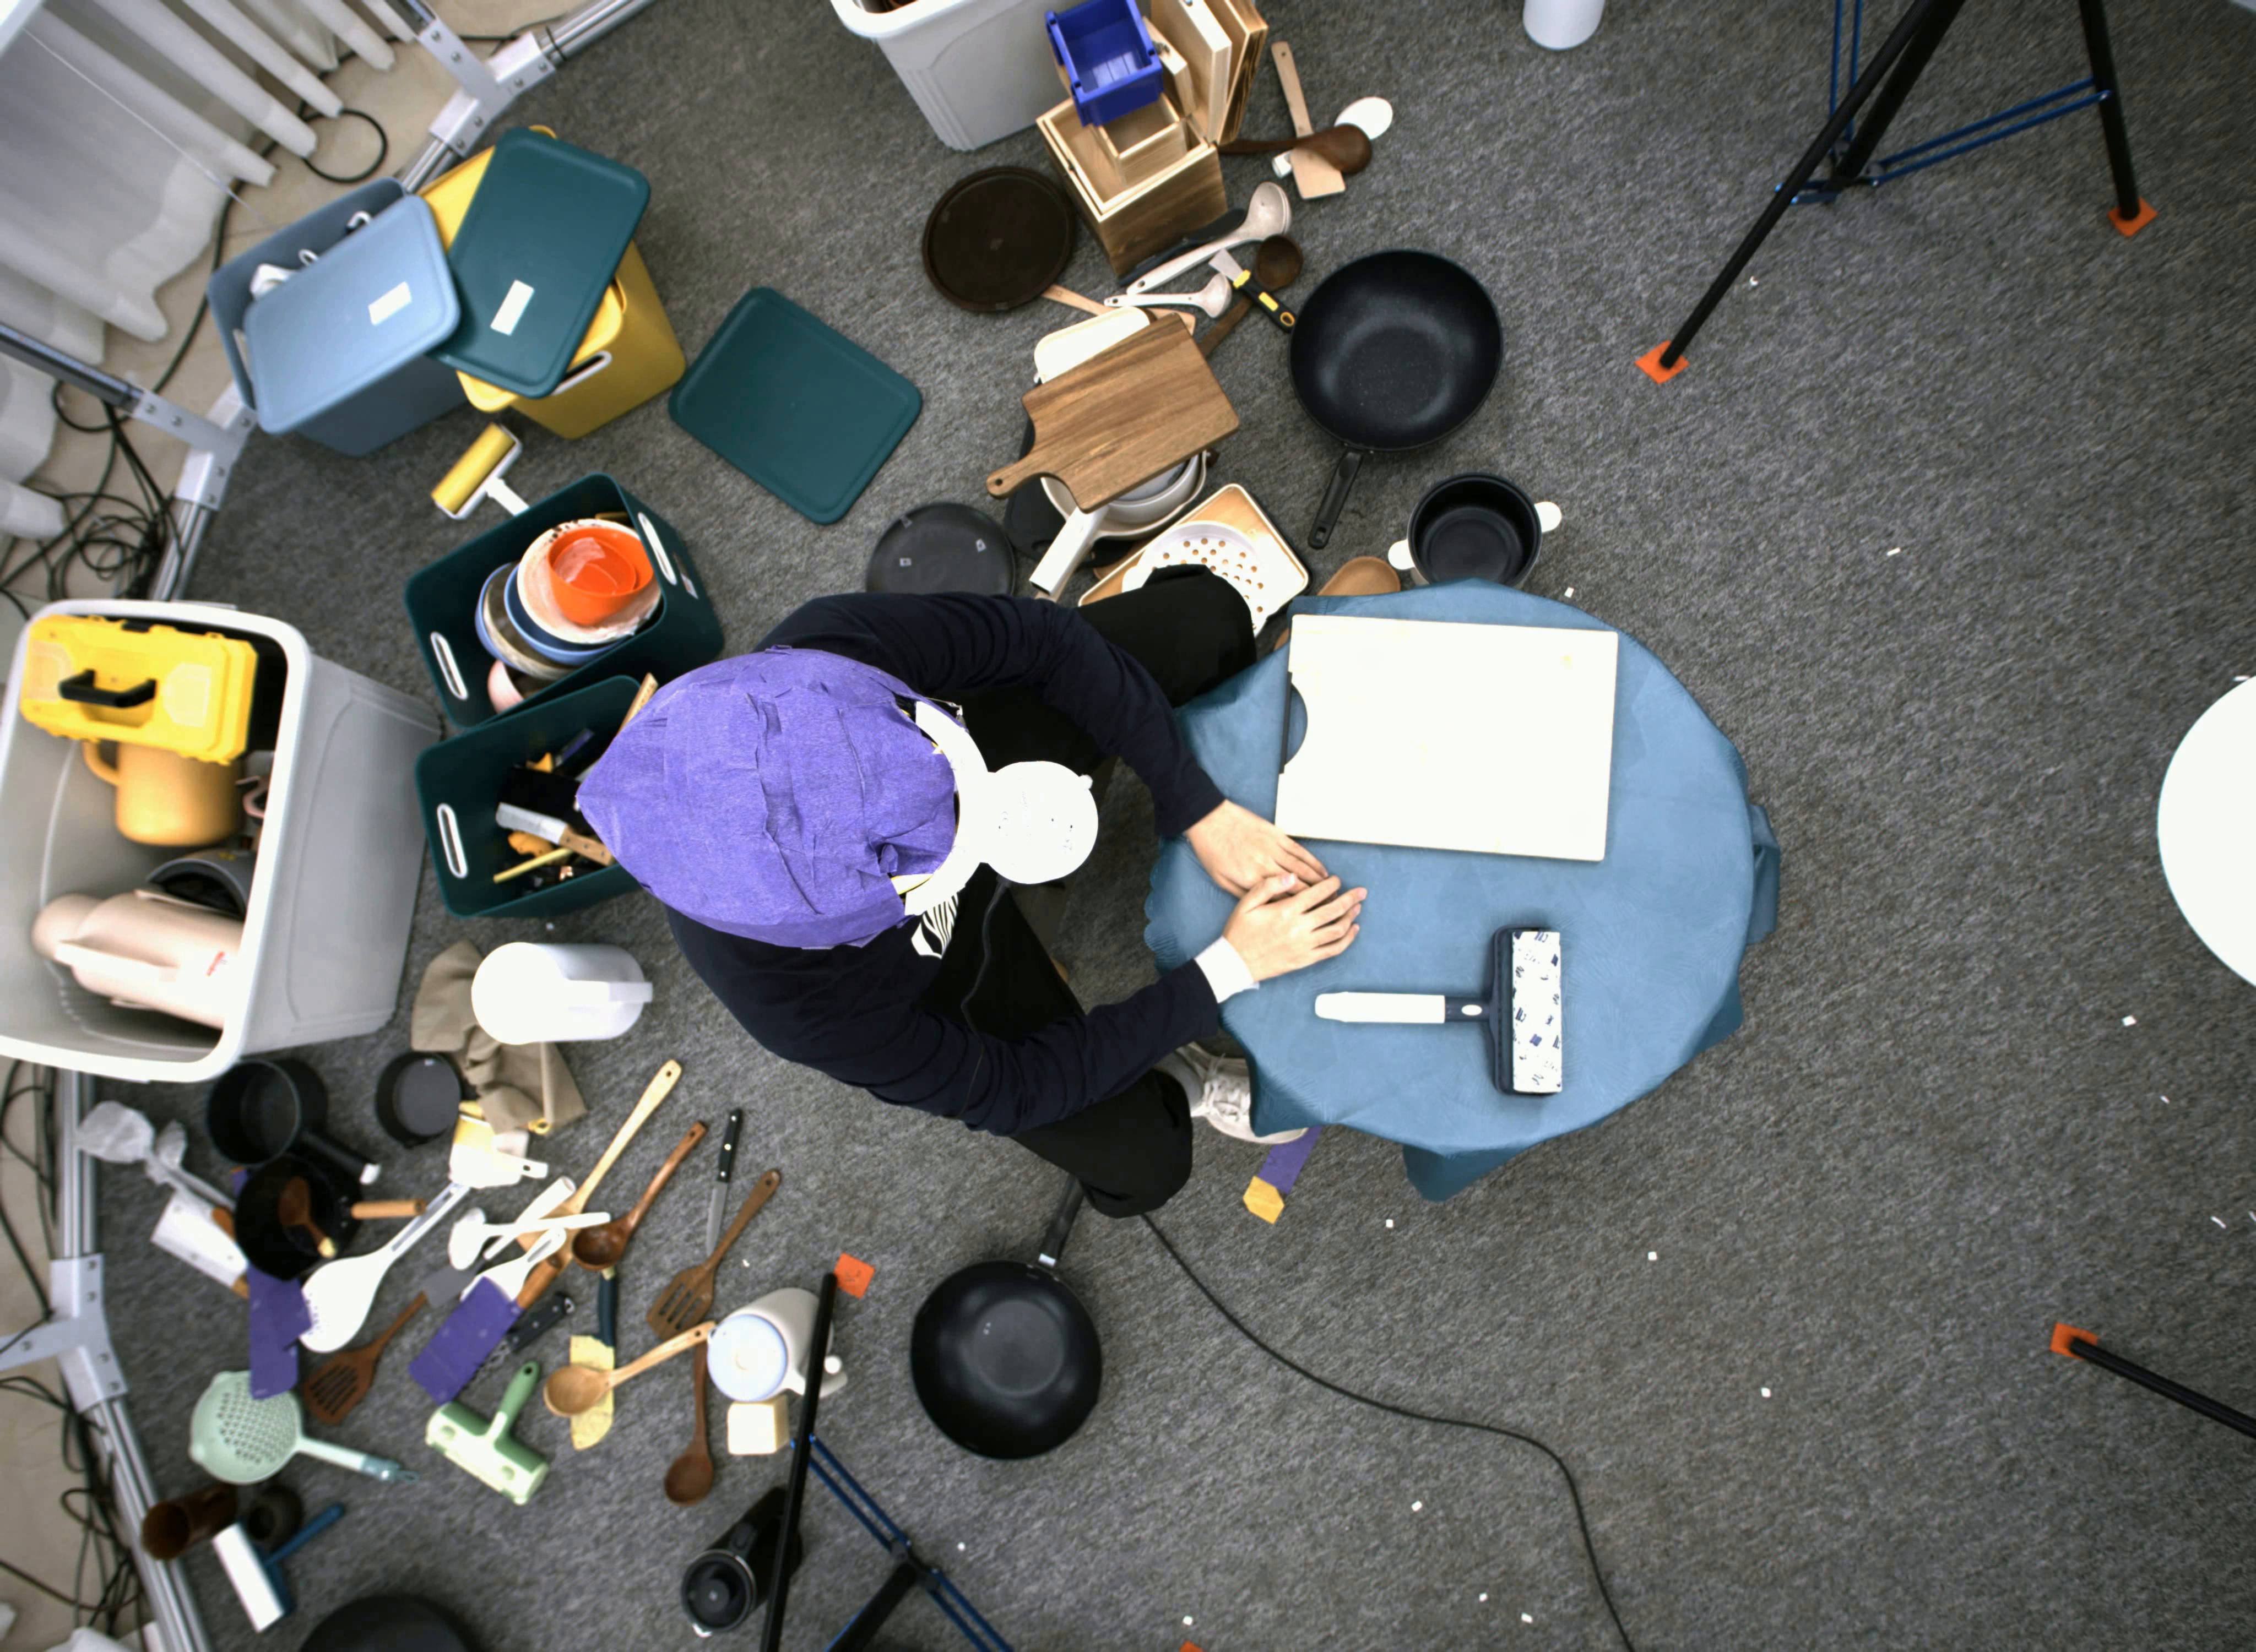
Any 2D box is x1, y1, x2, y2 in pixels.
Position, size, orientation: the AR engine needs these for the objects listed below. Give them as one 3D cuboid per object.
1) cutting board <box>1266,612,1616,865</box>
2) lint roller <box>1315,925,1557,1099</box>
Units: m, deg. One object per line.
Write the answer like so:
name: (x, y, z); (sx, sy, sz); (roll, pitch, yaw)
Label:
cutting board: (0.328, -0.098, 1.451); (0.350, 0.023, 0.249); (4, 87, 11)
lint roller: (0.316, 0.189, 1.424); (0.248, 0.050, 0.175); (-1, 87, 13)
